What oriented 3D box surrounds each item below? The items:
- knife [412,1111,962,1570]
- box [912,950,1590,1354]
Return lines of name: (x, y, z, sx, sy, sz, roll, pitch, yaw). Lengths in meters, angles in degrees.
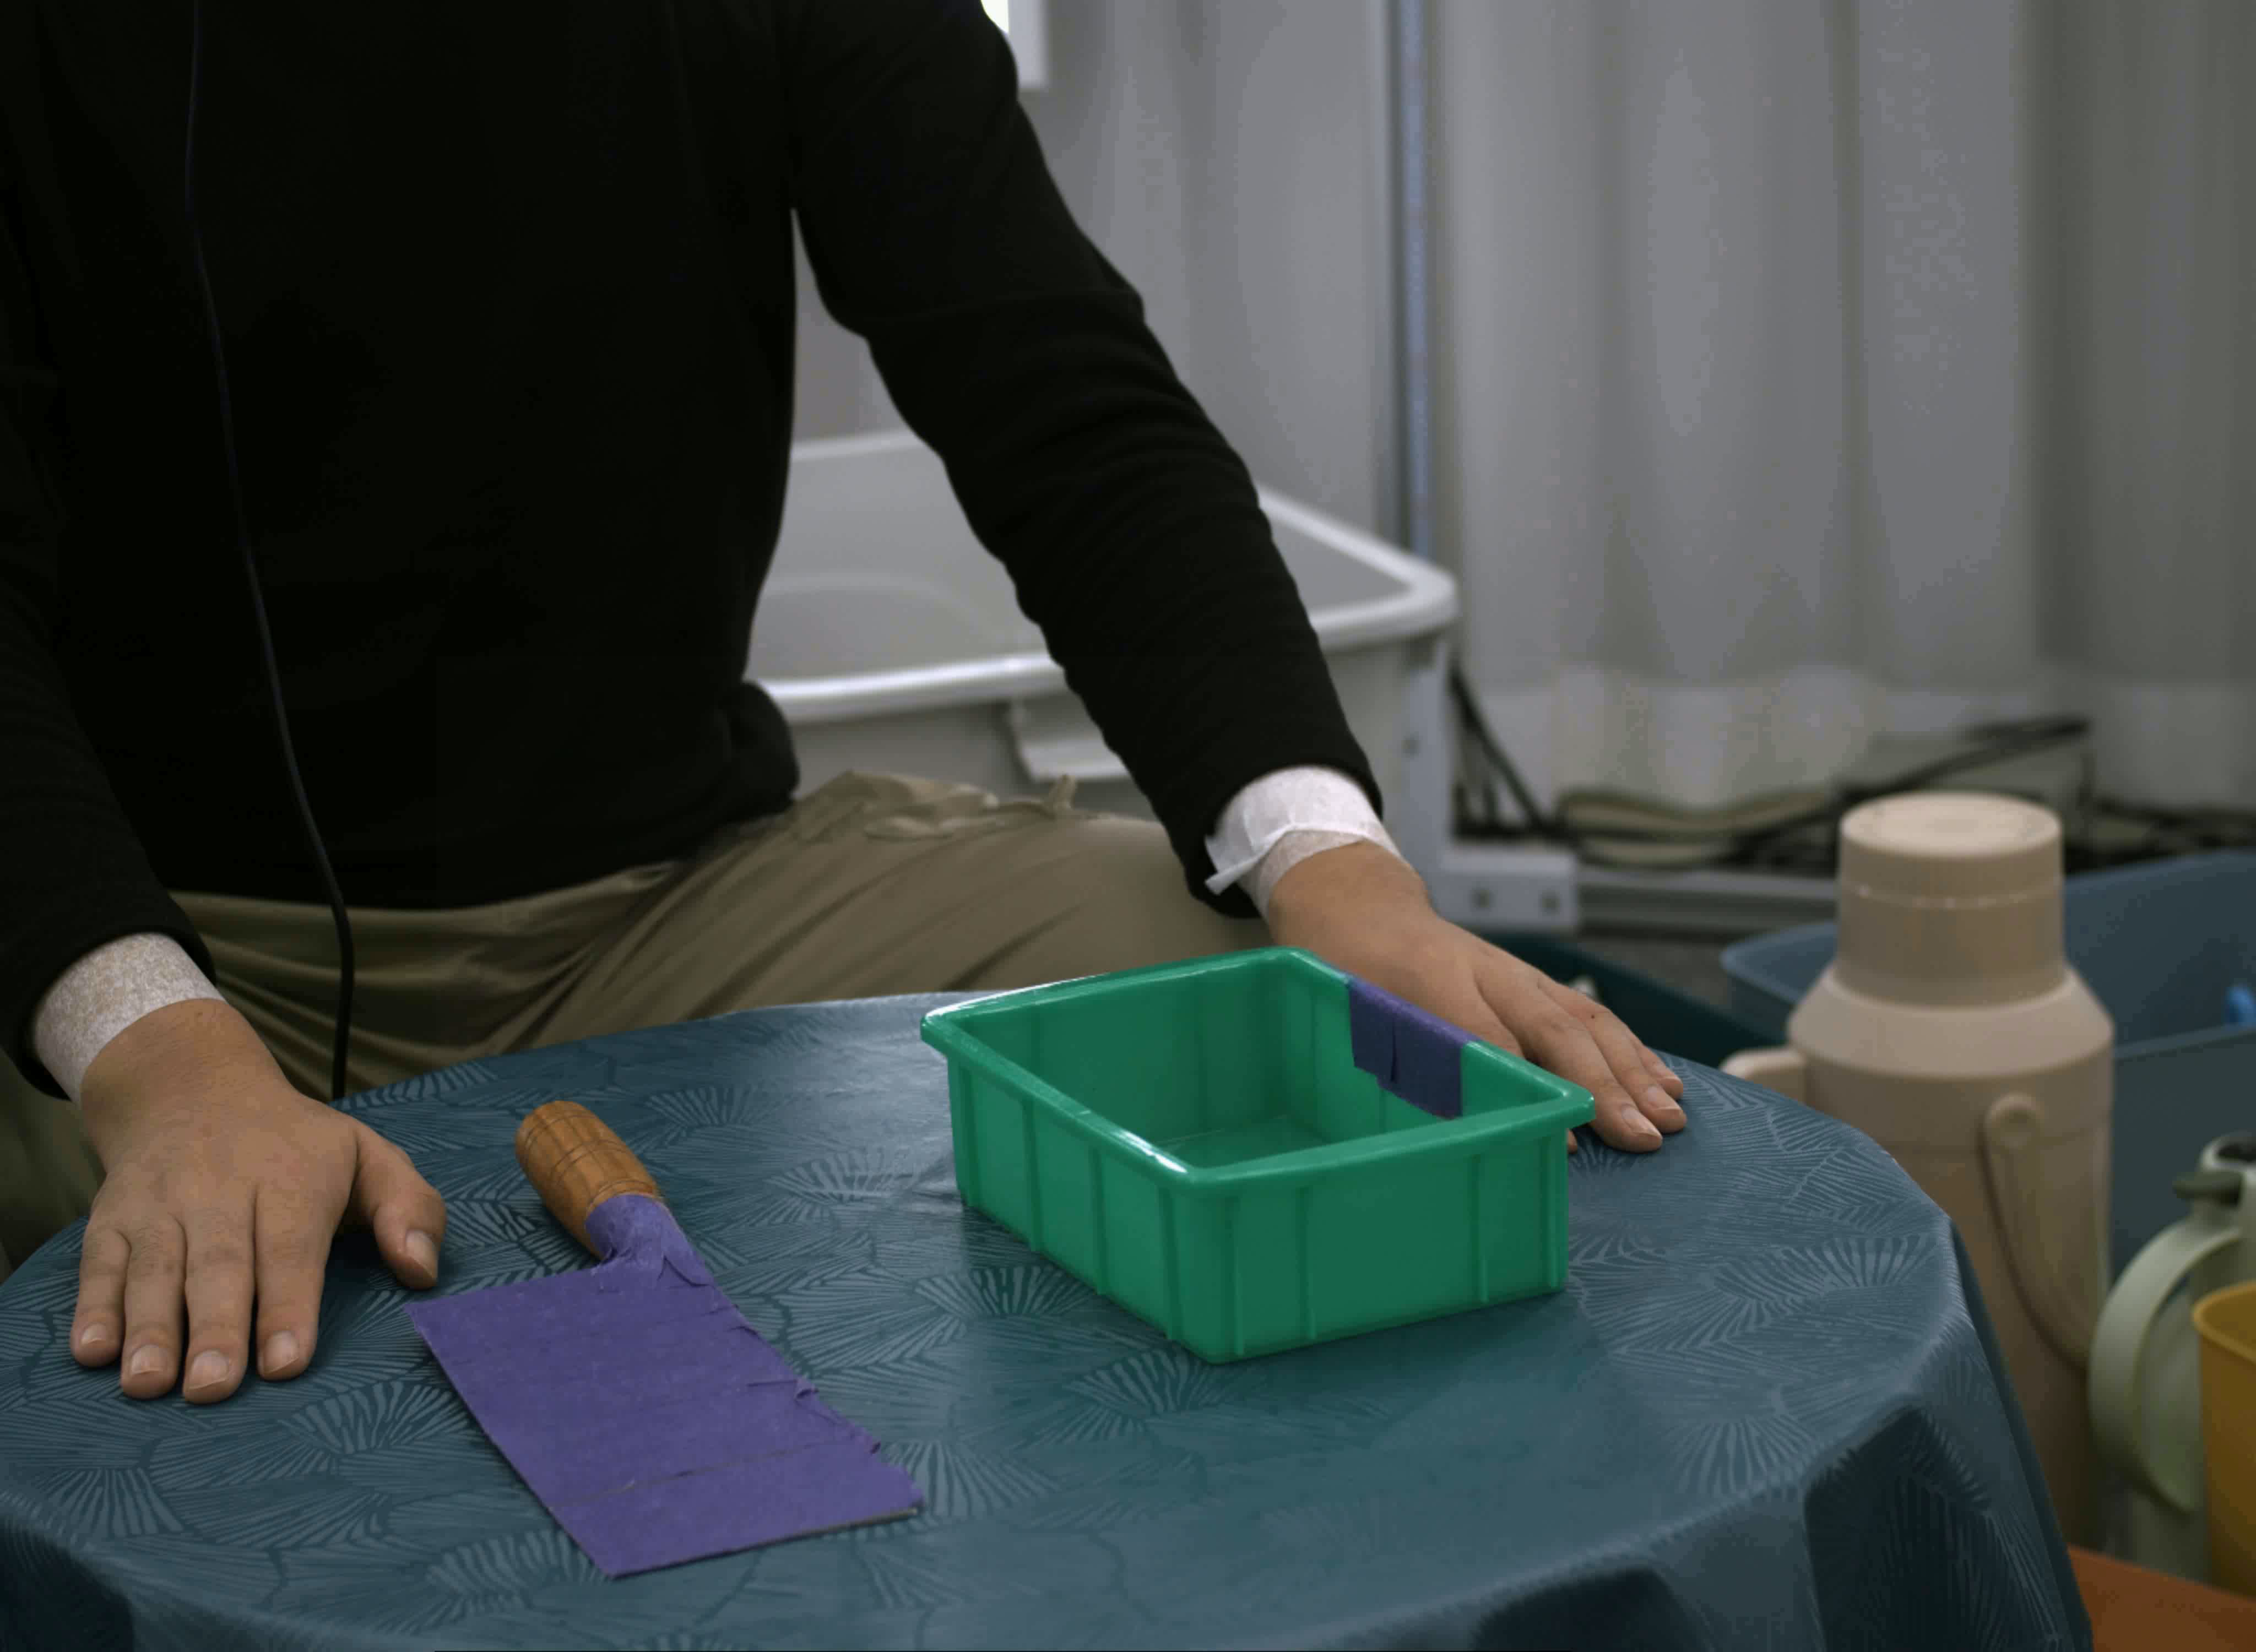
knife: (-0.152, 0.144, 1.580, 0.103, 0.032, 0.318, -9, 16, -22)
box: (0.035, 0.097, 1.654, 0.138, 0.065, 0.212, -8, 14, -25)
